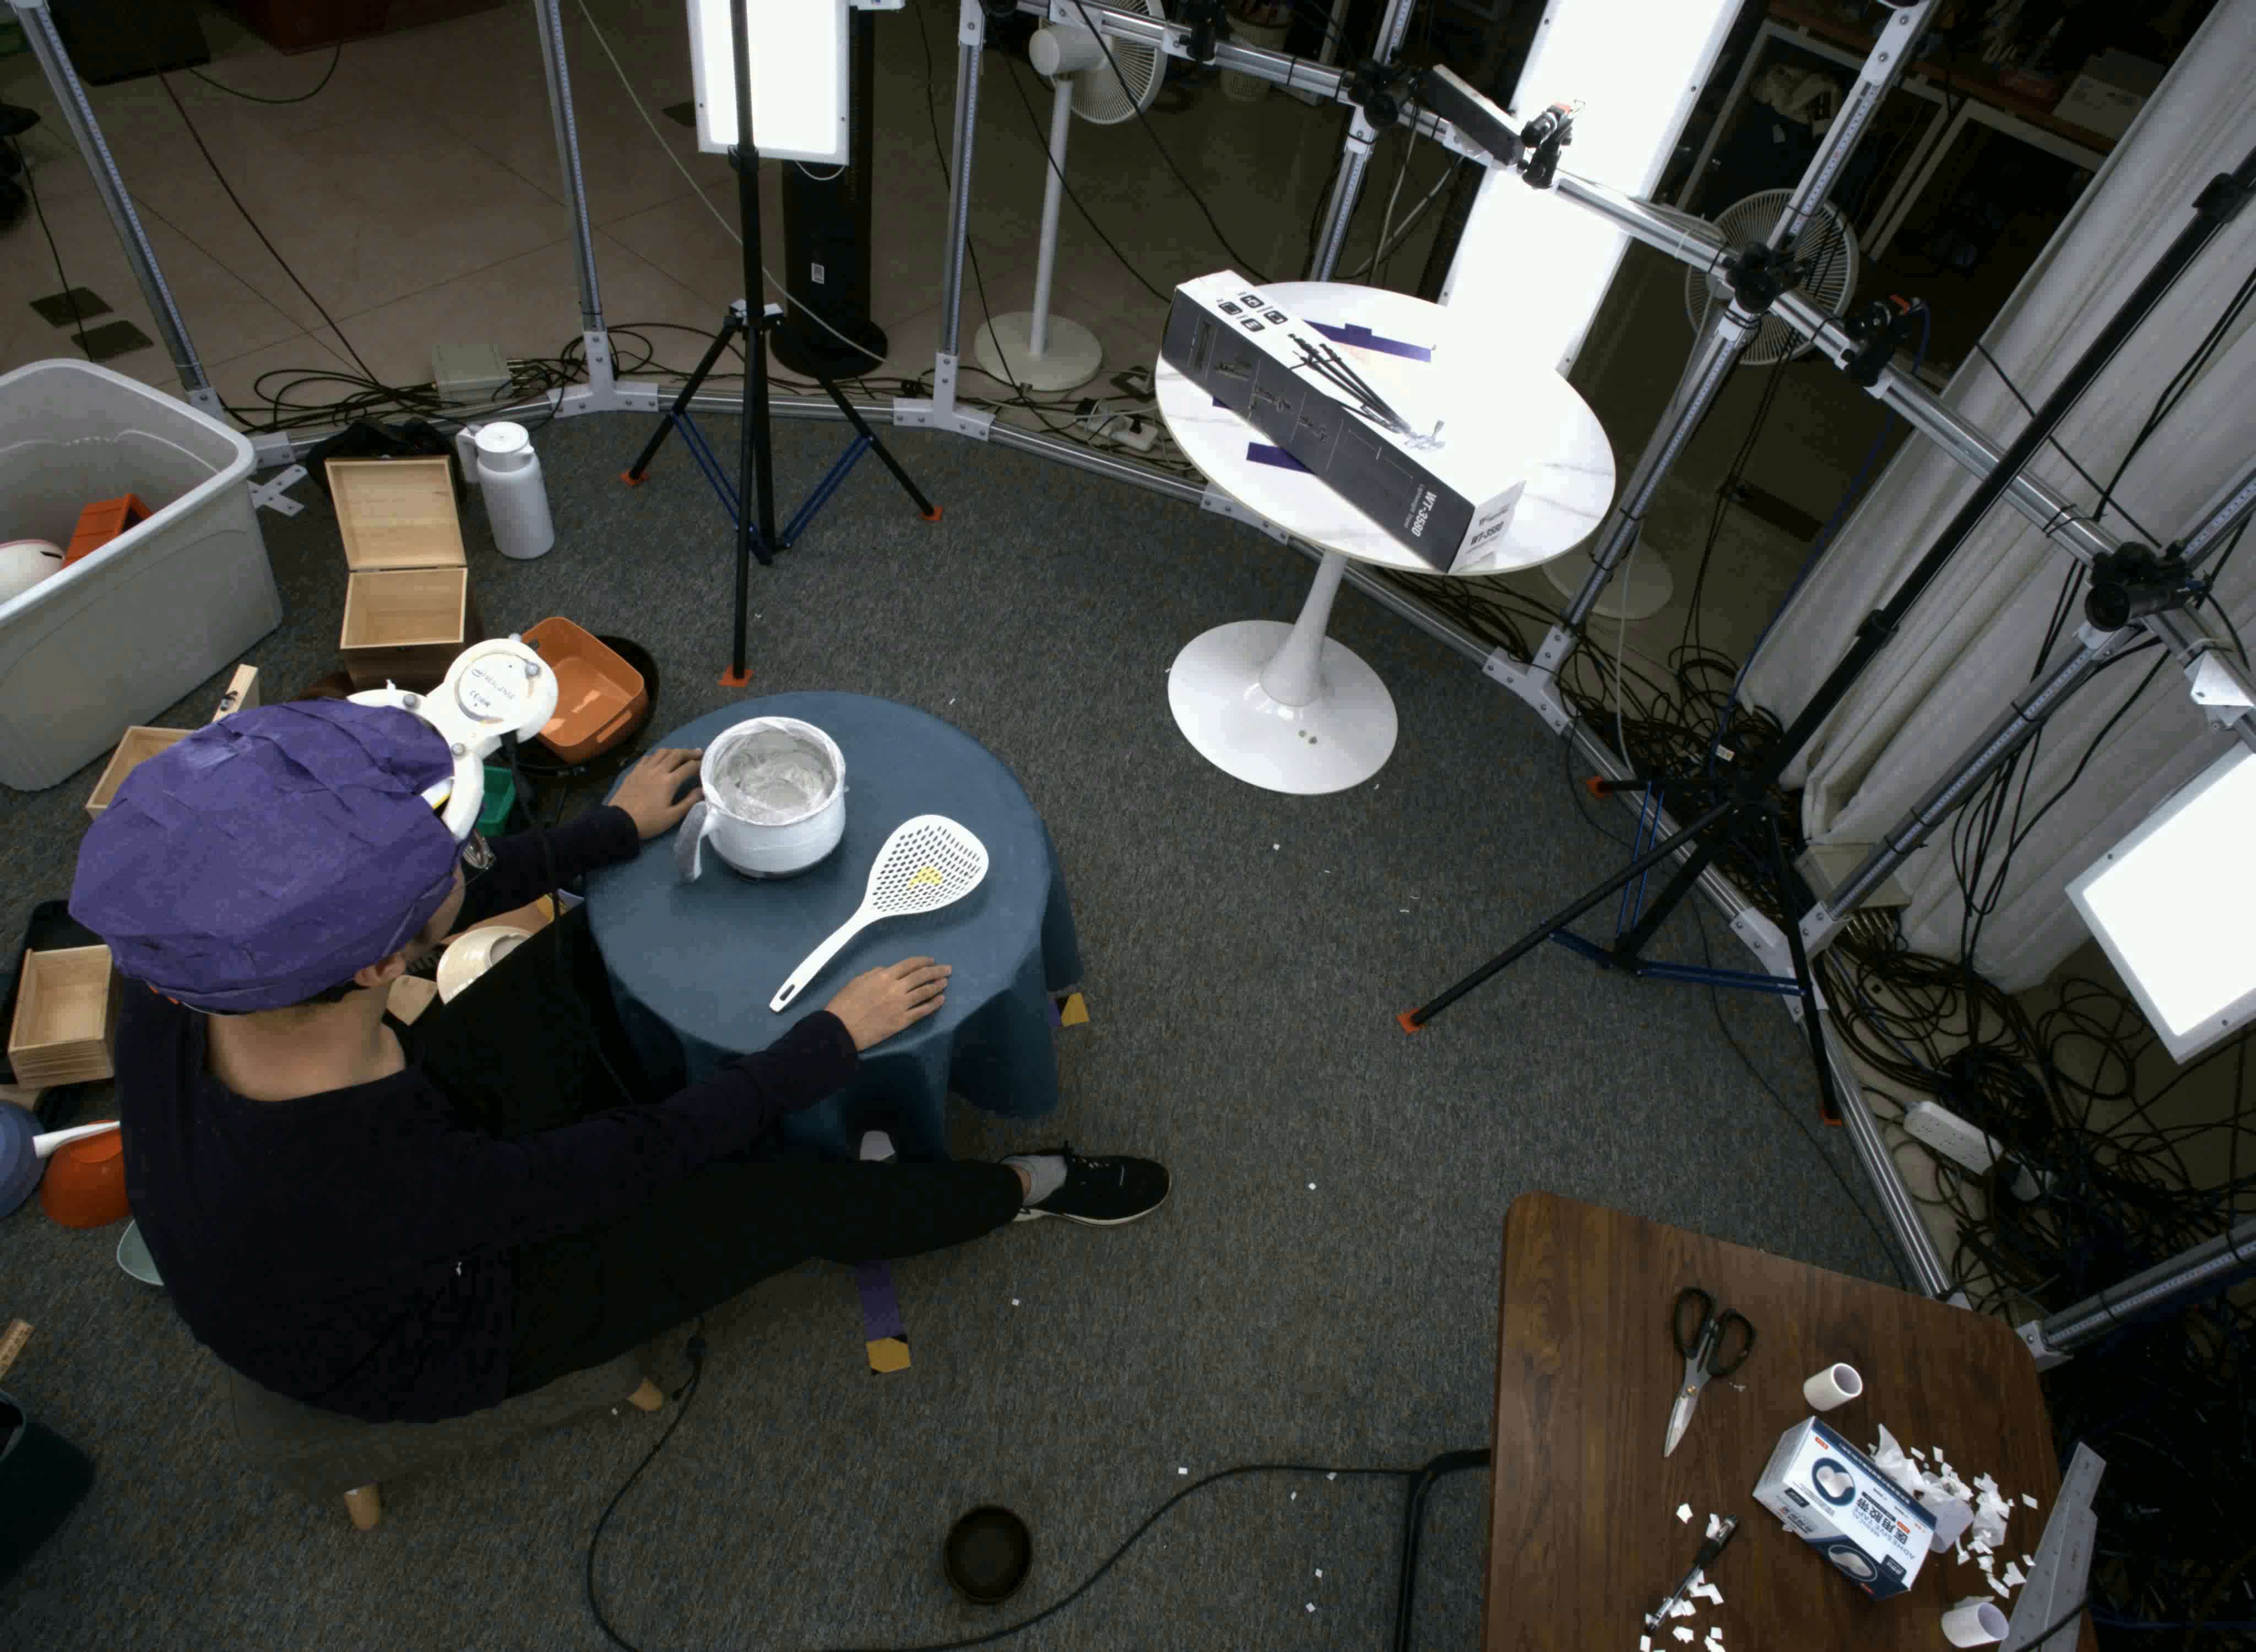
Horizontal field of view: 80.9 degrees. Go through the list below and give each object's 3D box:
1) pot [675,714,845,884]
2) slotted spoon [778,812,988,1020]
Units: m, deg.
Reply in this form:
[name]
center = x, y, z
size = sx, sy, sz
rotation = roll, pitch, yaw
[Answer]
[pot]
center = -0.473, -0.021, 1.648
size = 0.174, 0.140, 0.234
rotation = 40, 54, 21
[slotted spoon]
center = -0.321, 0.112, 1.650
size = 0.134, 0.051, 0.348
rotation = 37, 53, 13
